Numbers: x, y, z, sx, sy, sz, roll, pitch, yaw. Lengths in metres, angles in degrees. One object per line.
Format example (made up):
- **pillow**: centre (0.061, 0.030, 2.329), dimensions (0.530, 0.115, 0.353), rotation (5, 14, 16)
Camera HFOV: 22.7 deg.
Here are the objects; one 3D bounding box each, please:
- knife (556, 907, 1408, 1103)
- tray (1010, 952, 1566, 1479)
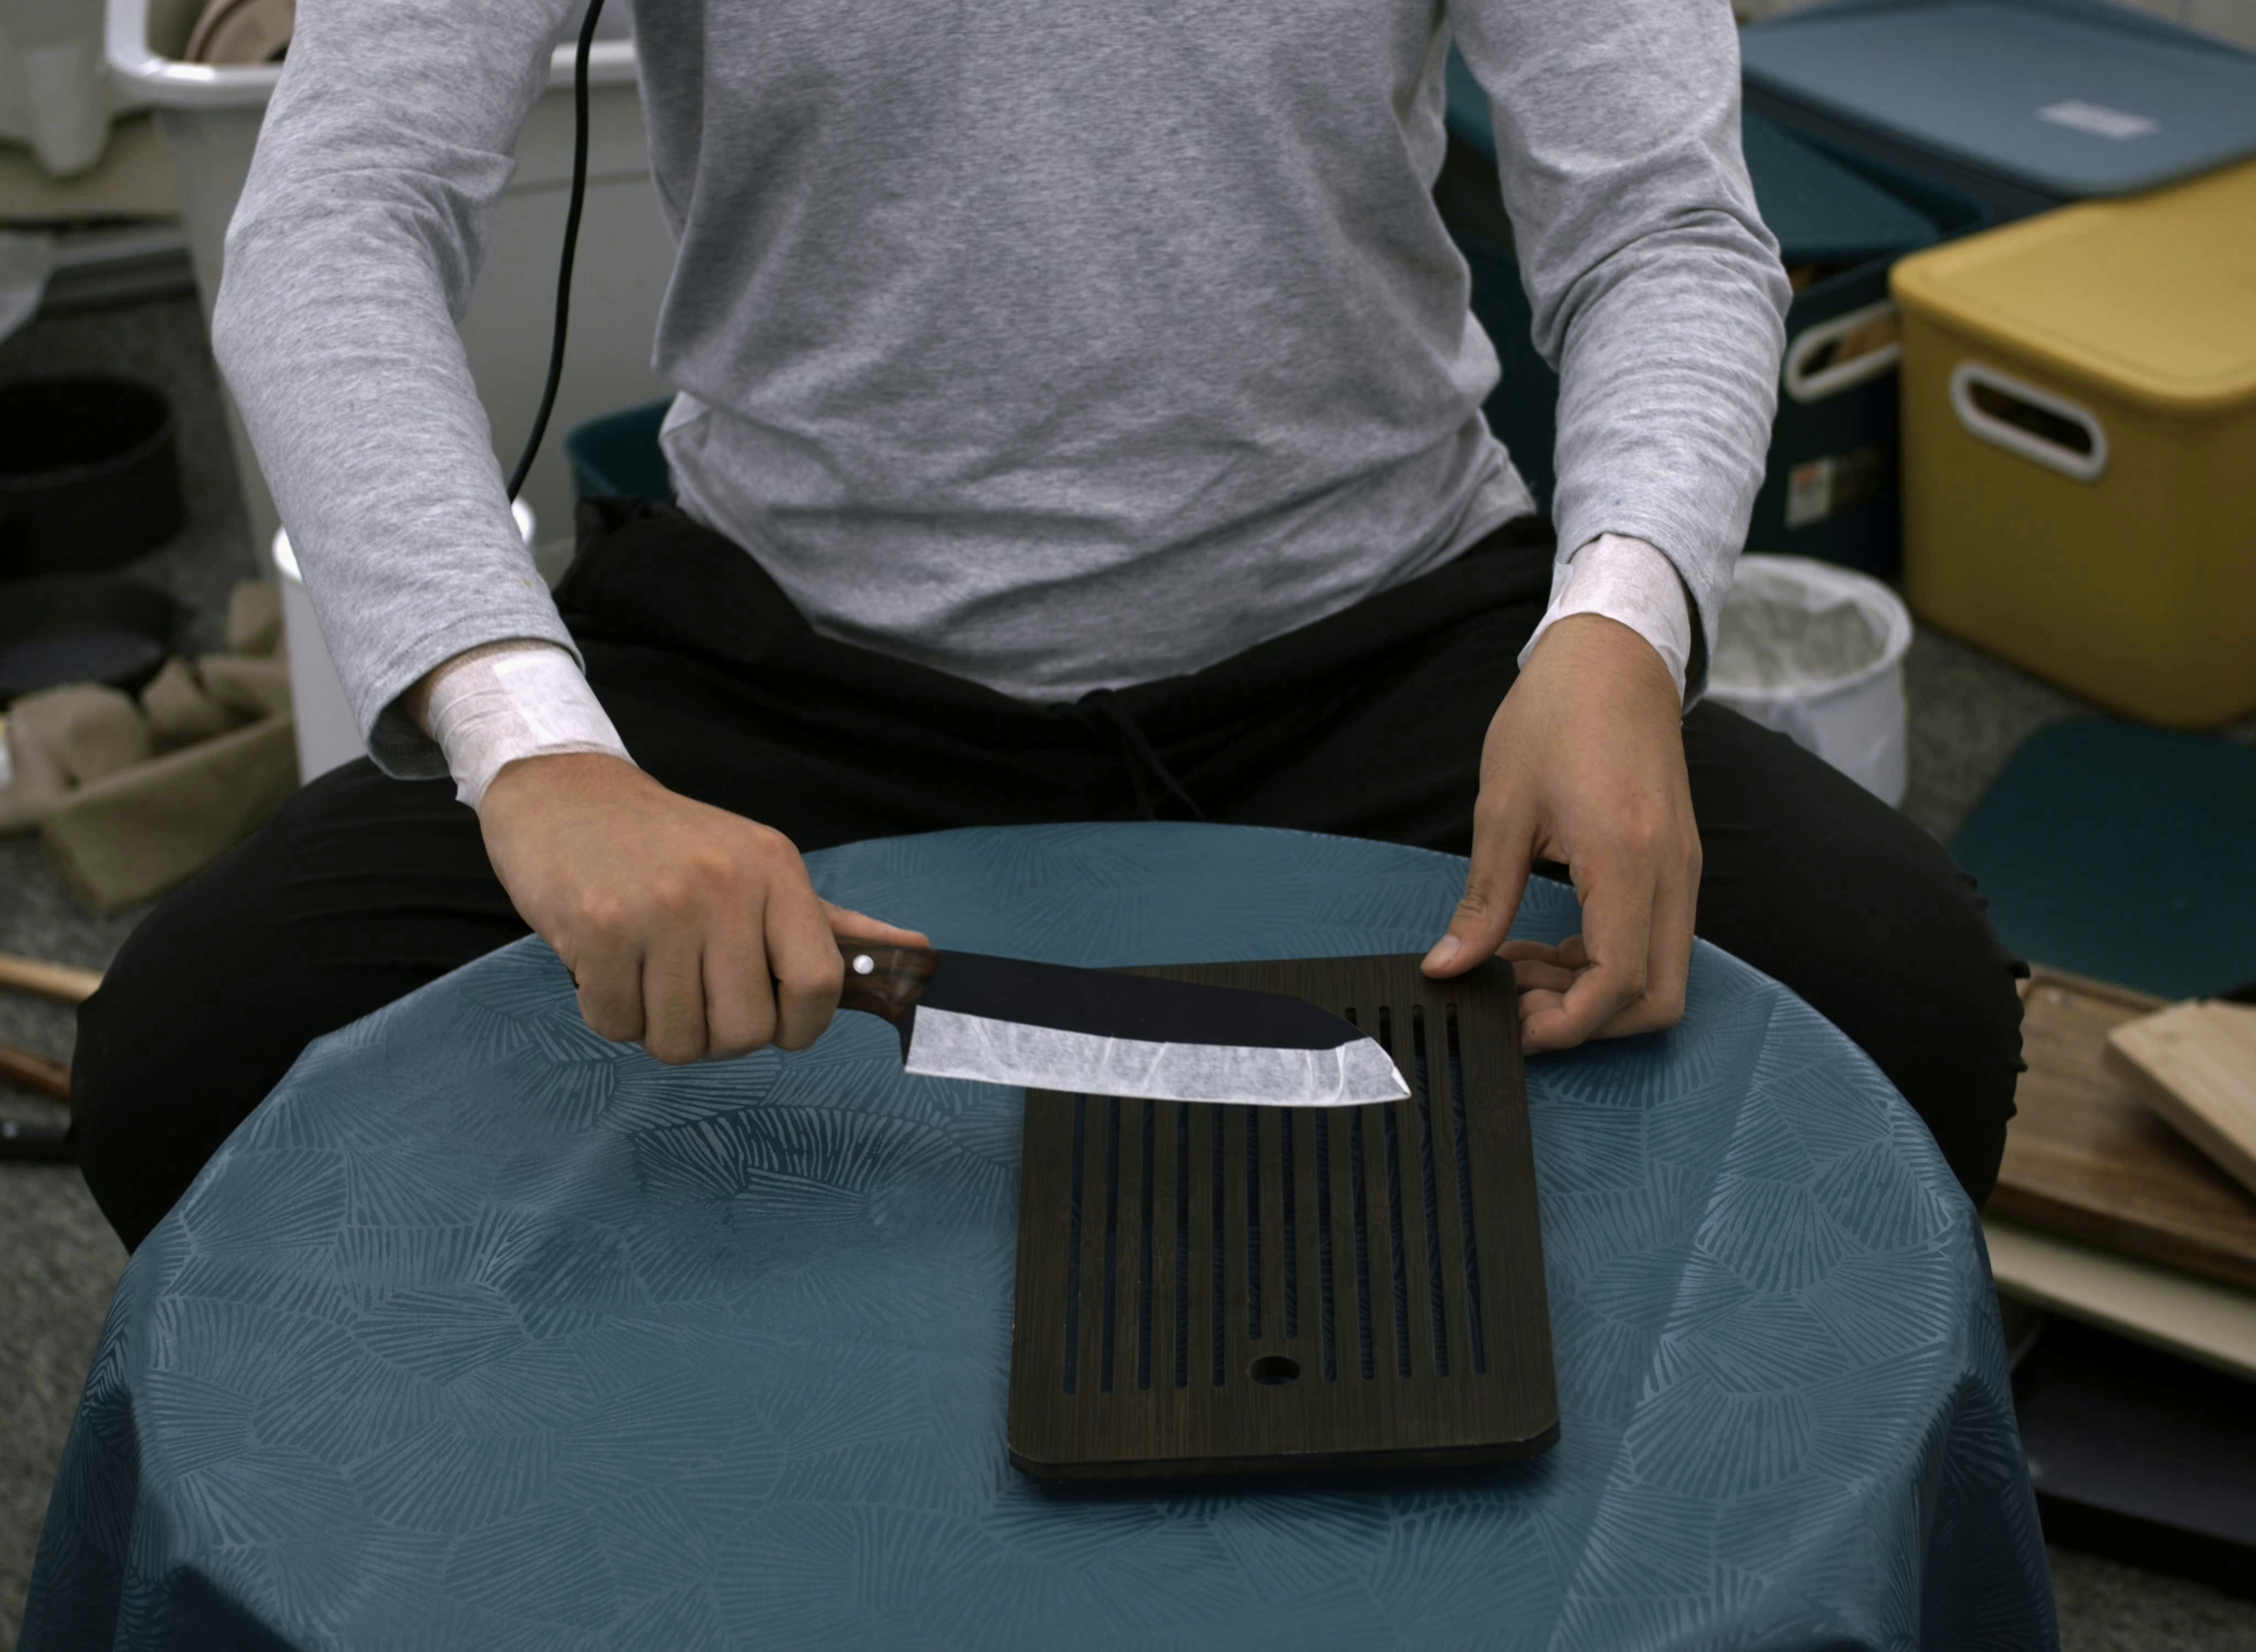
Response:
- **knife**: centre (-0.049, 0.060, 1.852), dimensions (0.287, 0.020, 0.051), rotation (9, 69, 5)
- **tray**: centre (0.051, 0.124, 1.831), dimensions (0.169, 0.018, 0.310), rotation (-3, 27, 2)
